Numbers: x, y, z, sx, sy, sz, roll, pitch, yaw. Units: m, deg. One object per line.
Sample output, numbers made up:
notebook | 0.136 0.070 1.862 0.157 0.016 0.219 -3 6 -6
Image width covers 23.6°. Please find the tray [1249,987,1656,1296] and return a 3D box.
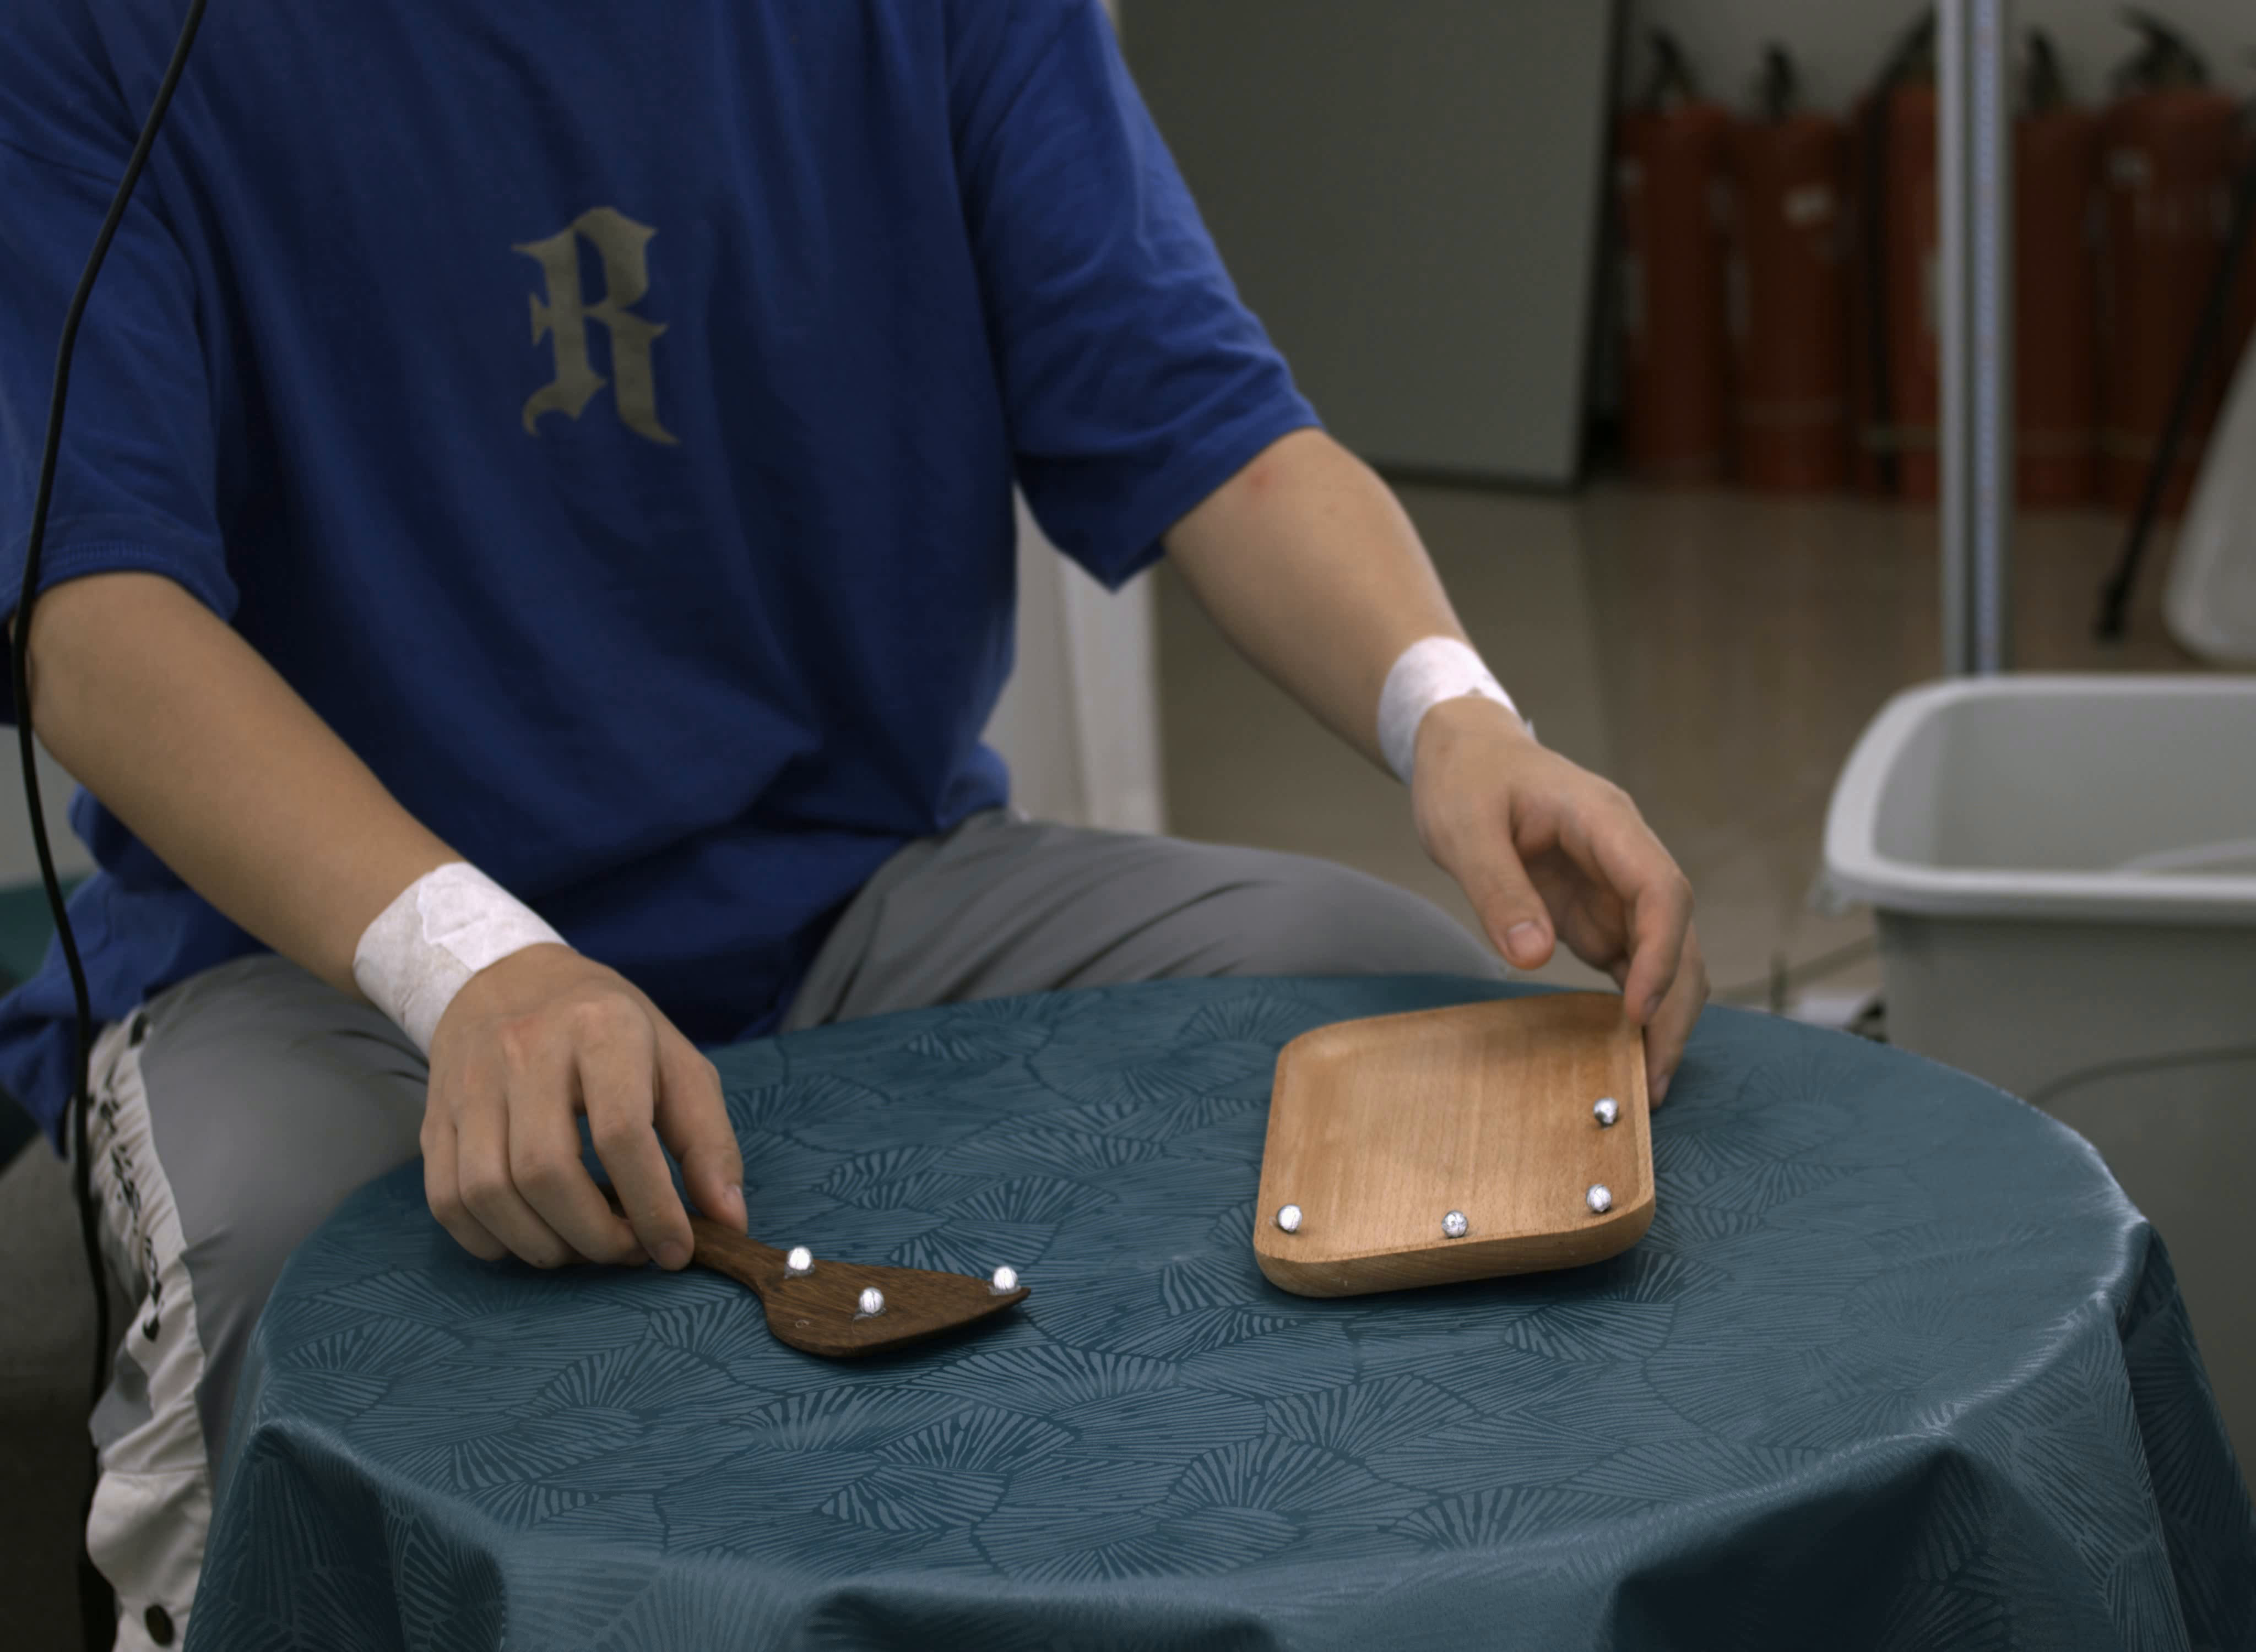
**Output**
tray | 0.108 0.101 1.758 0.129 0.023 0.250 -6 14 7

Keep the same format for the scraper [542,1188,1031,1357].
scraper | -0.118 0.139 1.710 0.074 0.011 0.213 -13 16 -38
